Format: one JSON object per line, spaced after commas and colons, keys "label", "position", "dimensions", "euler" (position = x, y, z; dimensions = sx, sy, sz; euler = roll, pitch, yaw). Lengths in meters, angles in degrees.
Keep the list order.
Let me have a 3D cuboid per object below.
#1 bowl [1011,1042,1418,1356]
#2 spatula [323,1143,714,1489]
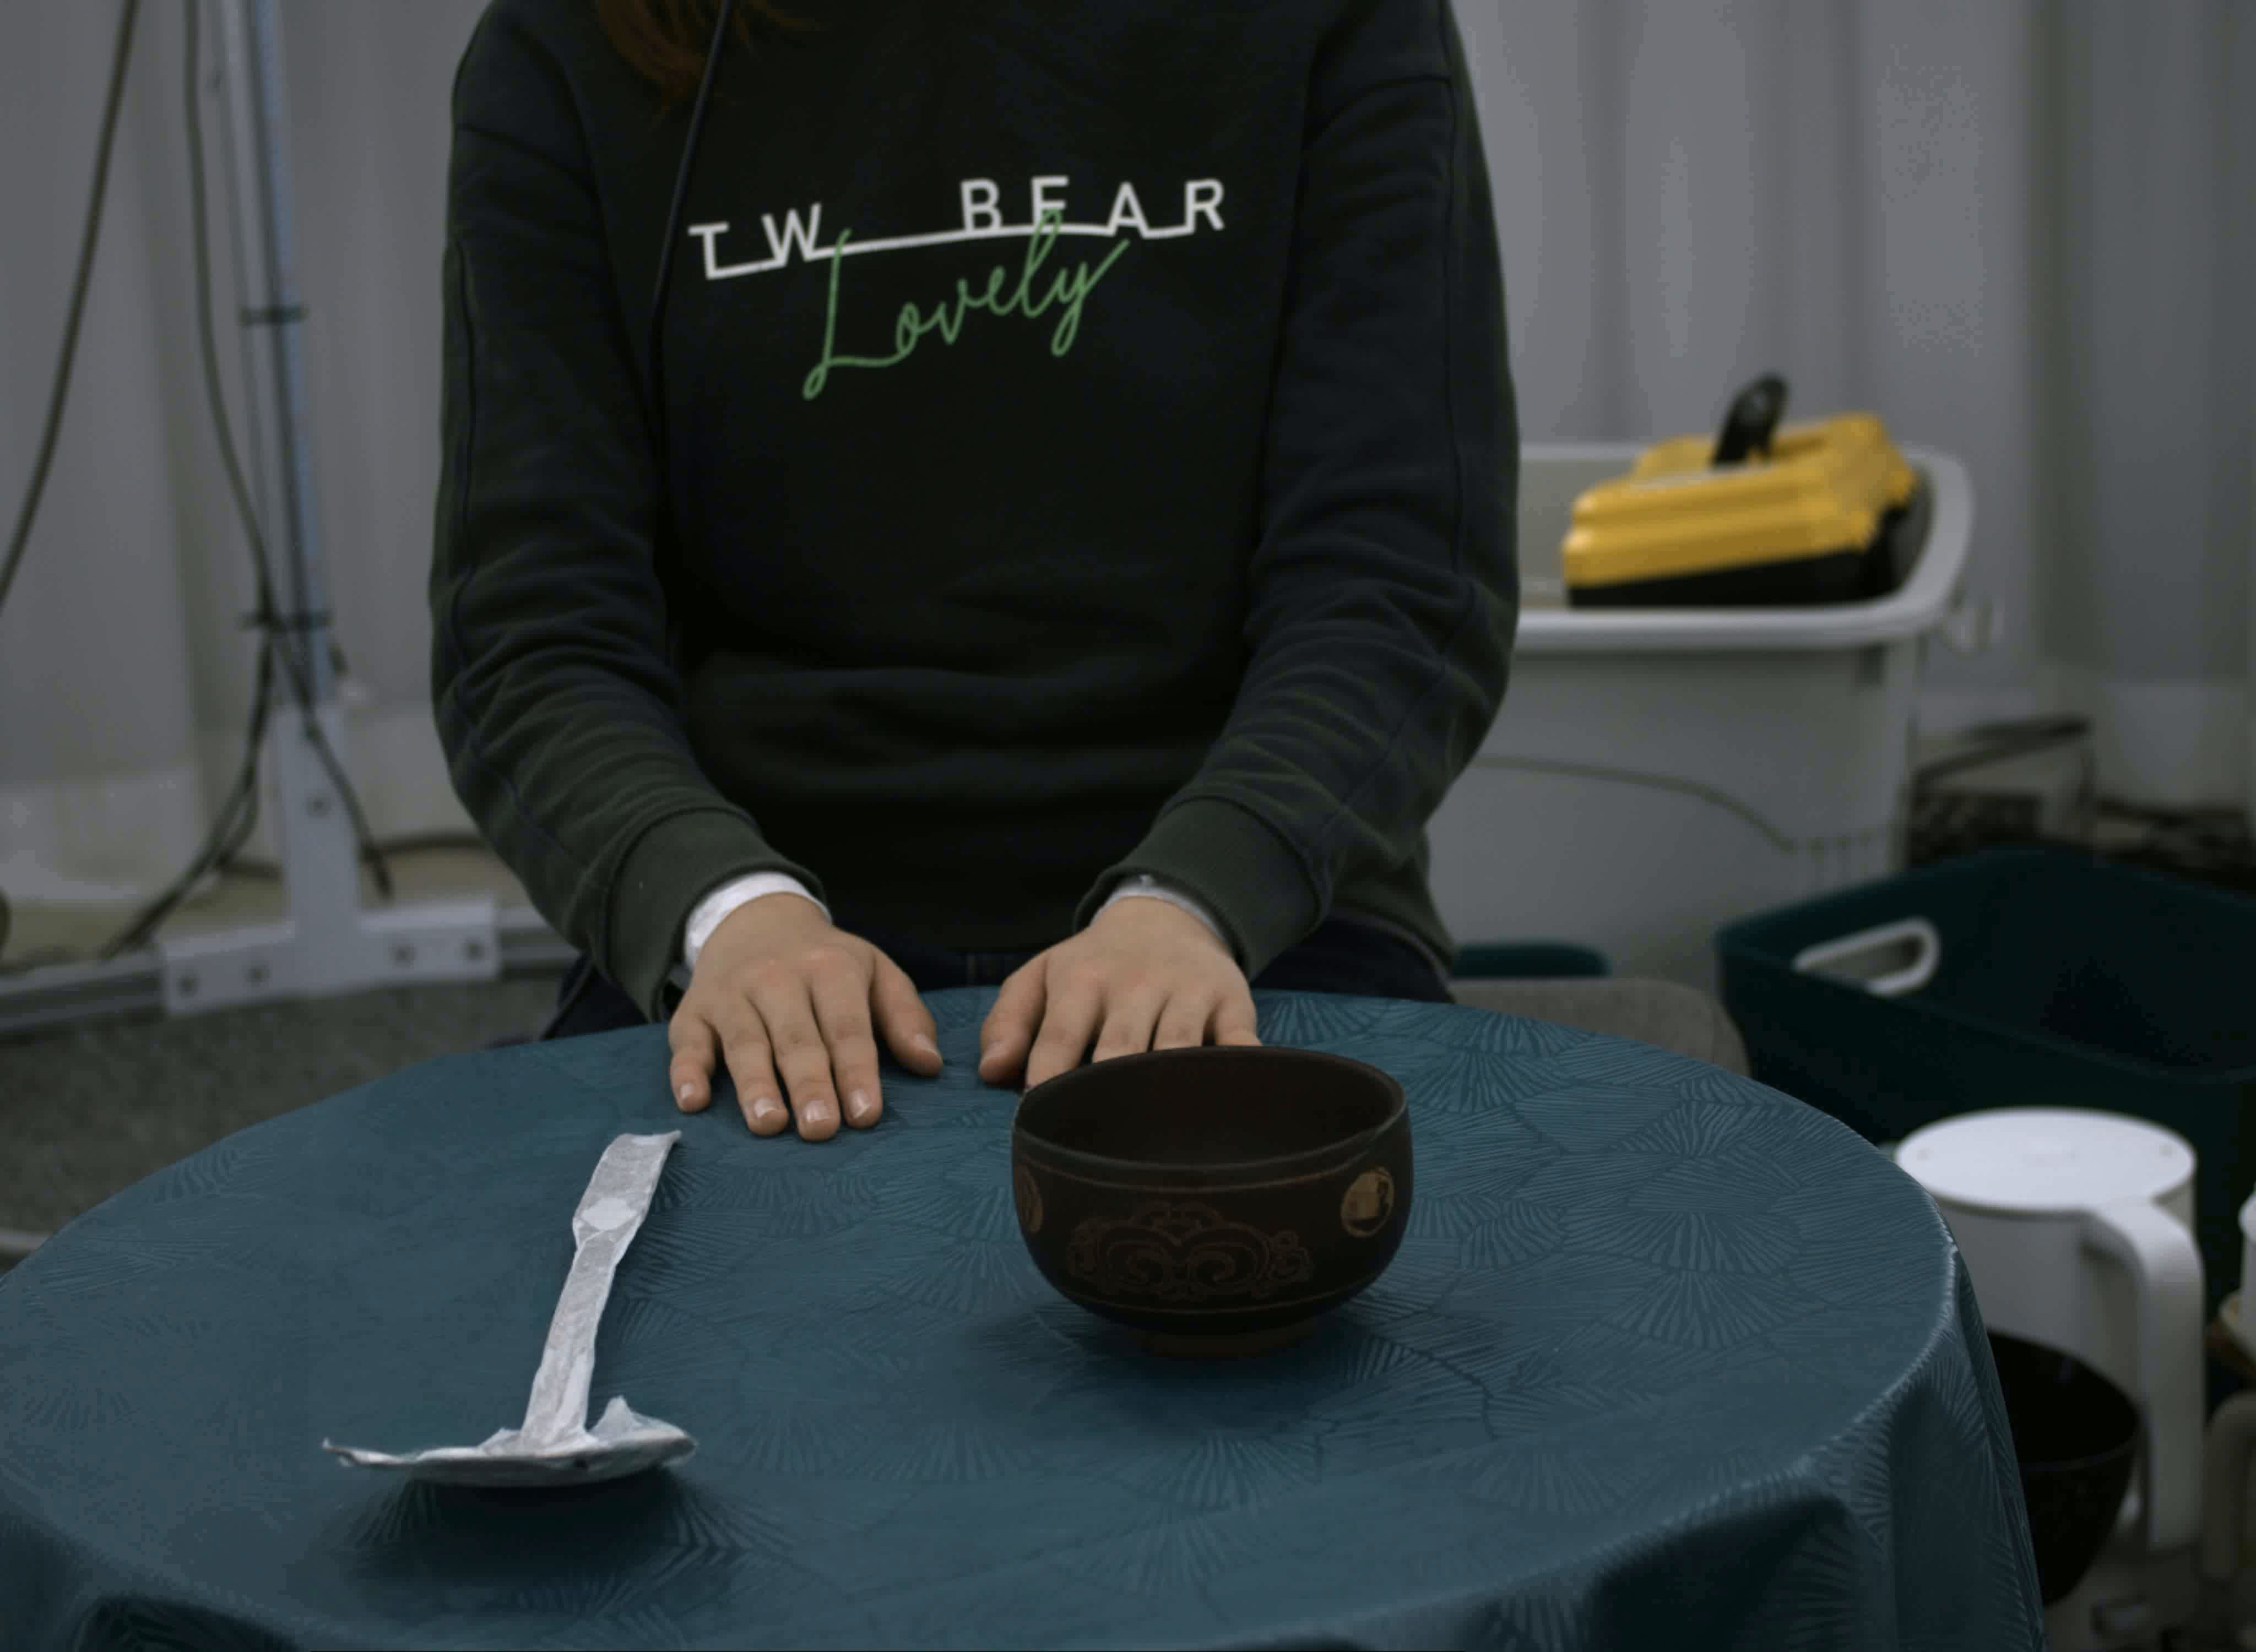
{"label": "bowl", "position": [0.025, 0.112, 1.583], "dimensions": [0.117, 0.069, 0.119], "euler": [-1, 14, 0]}
{"label": "spatula", "position": [-0.155, 0.134, 1.597], "dimensions": [0.098, 0.044, 0.367], "euler": [-4, 15, 4]}
